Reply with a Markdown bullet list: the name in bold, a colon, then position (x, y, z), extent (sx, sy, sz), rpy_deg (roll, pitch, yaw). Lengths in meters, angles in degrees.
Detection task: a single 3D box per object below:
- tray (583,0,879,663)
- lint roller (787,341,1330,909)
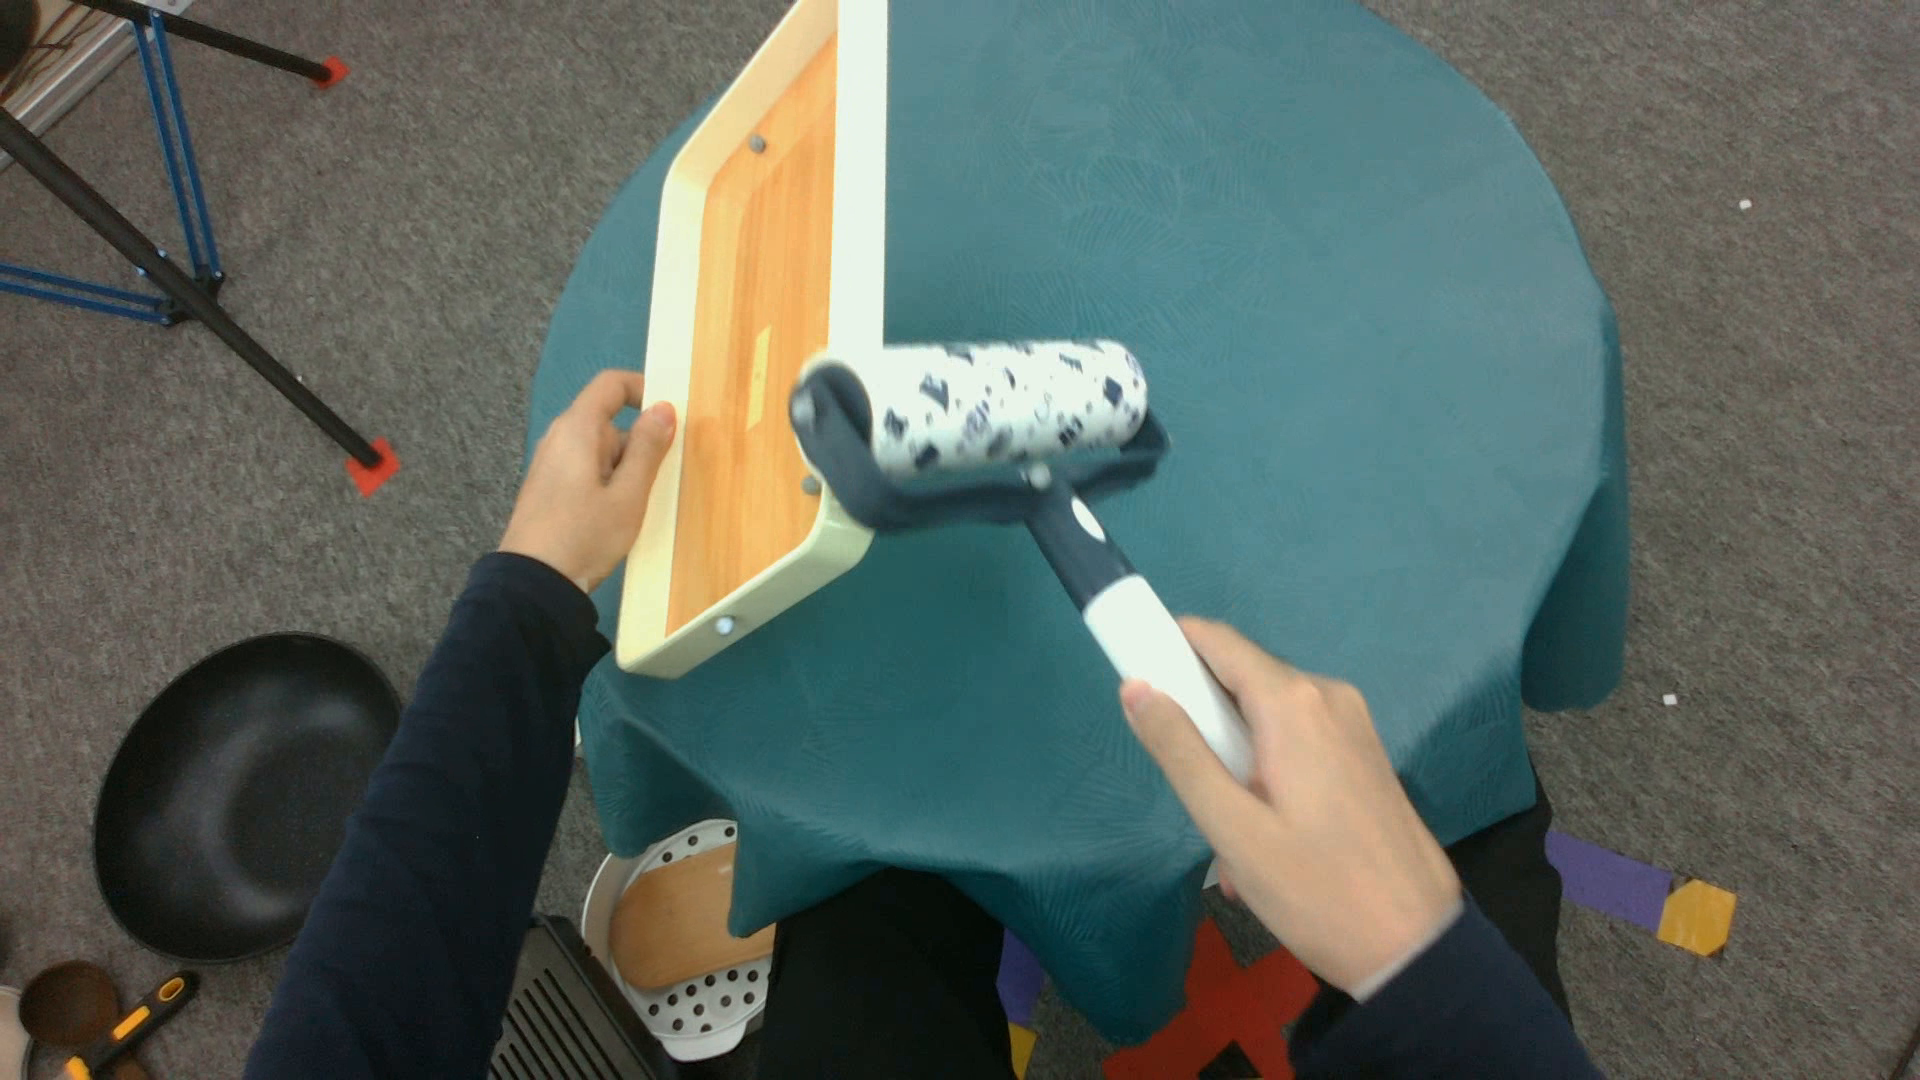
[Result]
- **tray**: position (-0.106, -0.107, 0.639), extent (0.190, 0.027, 0.301), rpy_deg (-27, 54, 43)
- **lint roller**: position (0.061, 0.023, 0.514), extent (0.177, 0.050, 0.247), rpy_deg (-13, 60, -48)
